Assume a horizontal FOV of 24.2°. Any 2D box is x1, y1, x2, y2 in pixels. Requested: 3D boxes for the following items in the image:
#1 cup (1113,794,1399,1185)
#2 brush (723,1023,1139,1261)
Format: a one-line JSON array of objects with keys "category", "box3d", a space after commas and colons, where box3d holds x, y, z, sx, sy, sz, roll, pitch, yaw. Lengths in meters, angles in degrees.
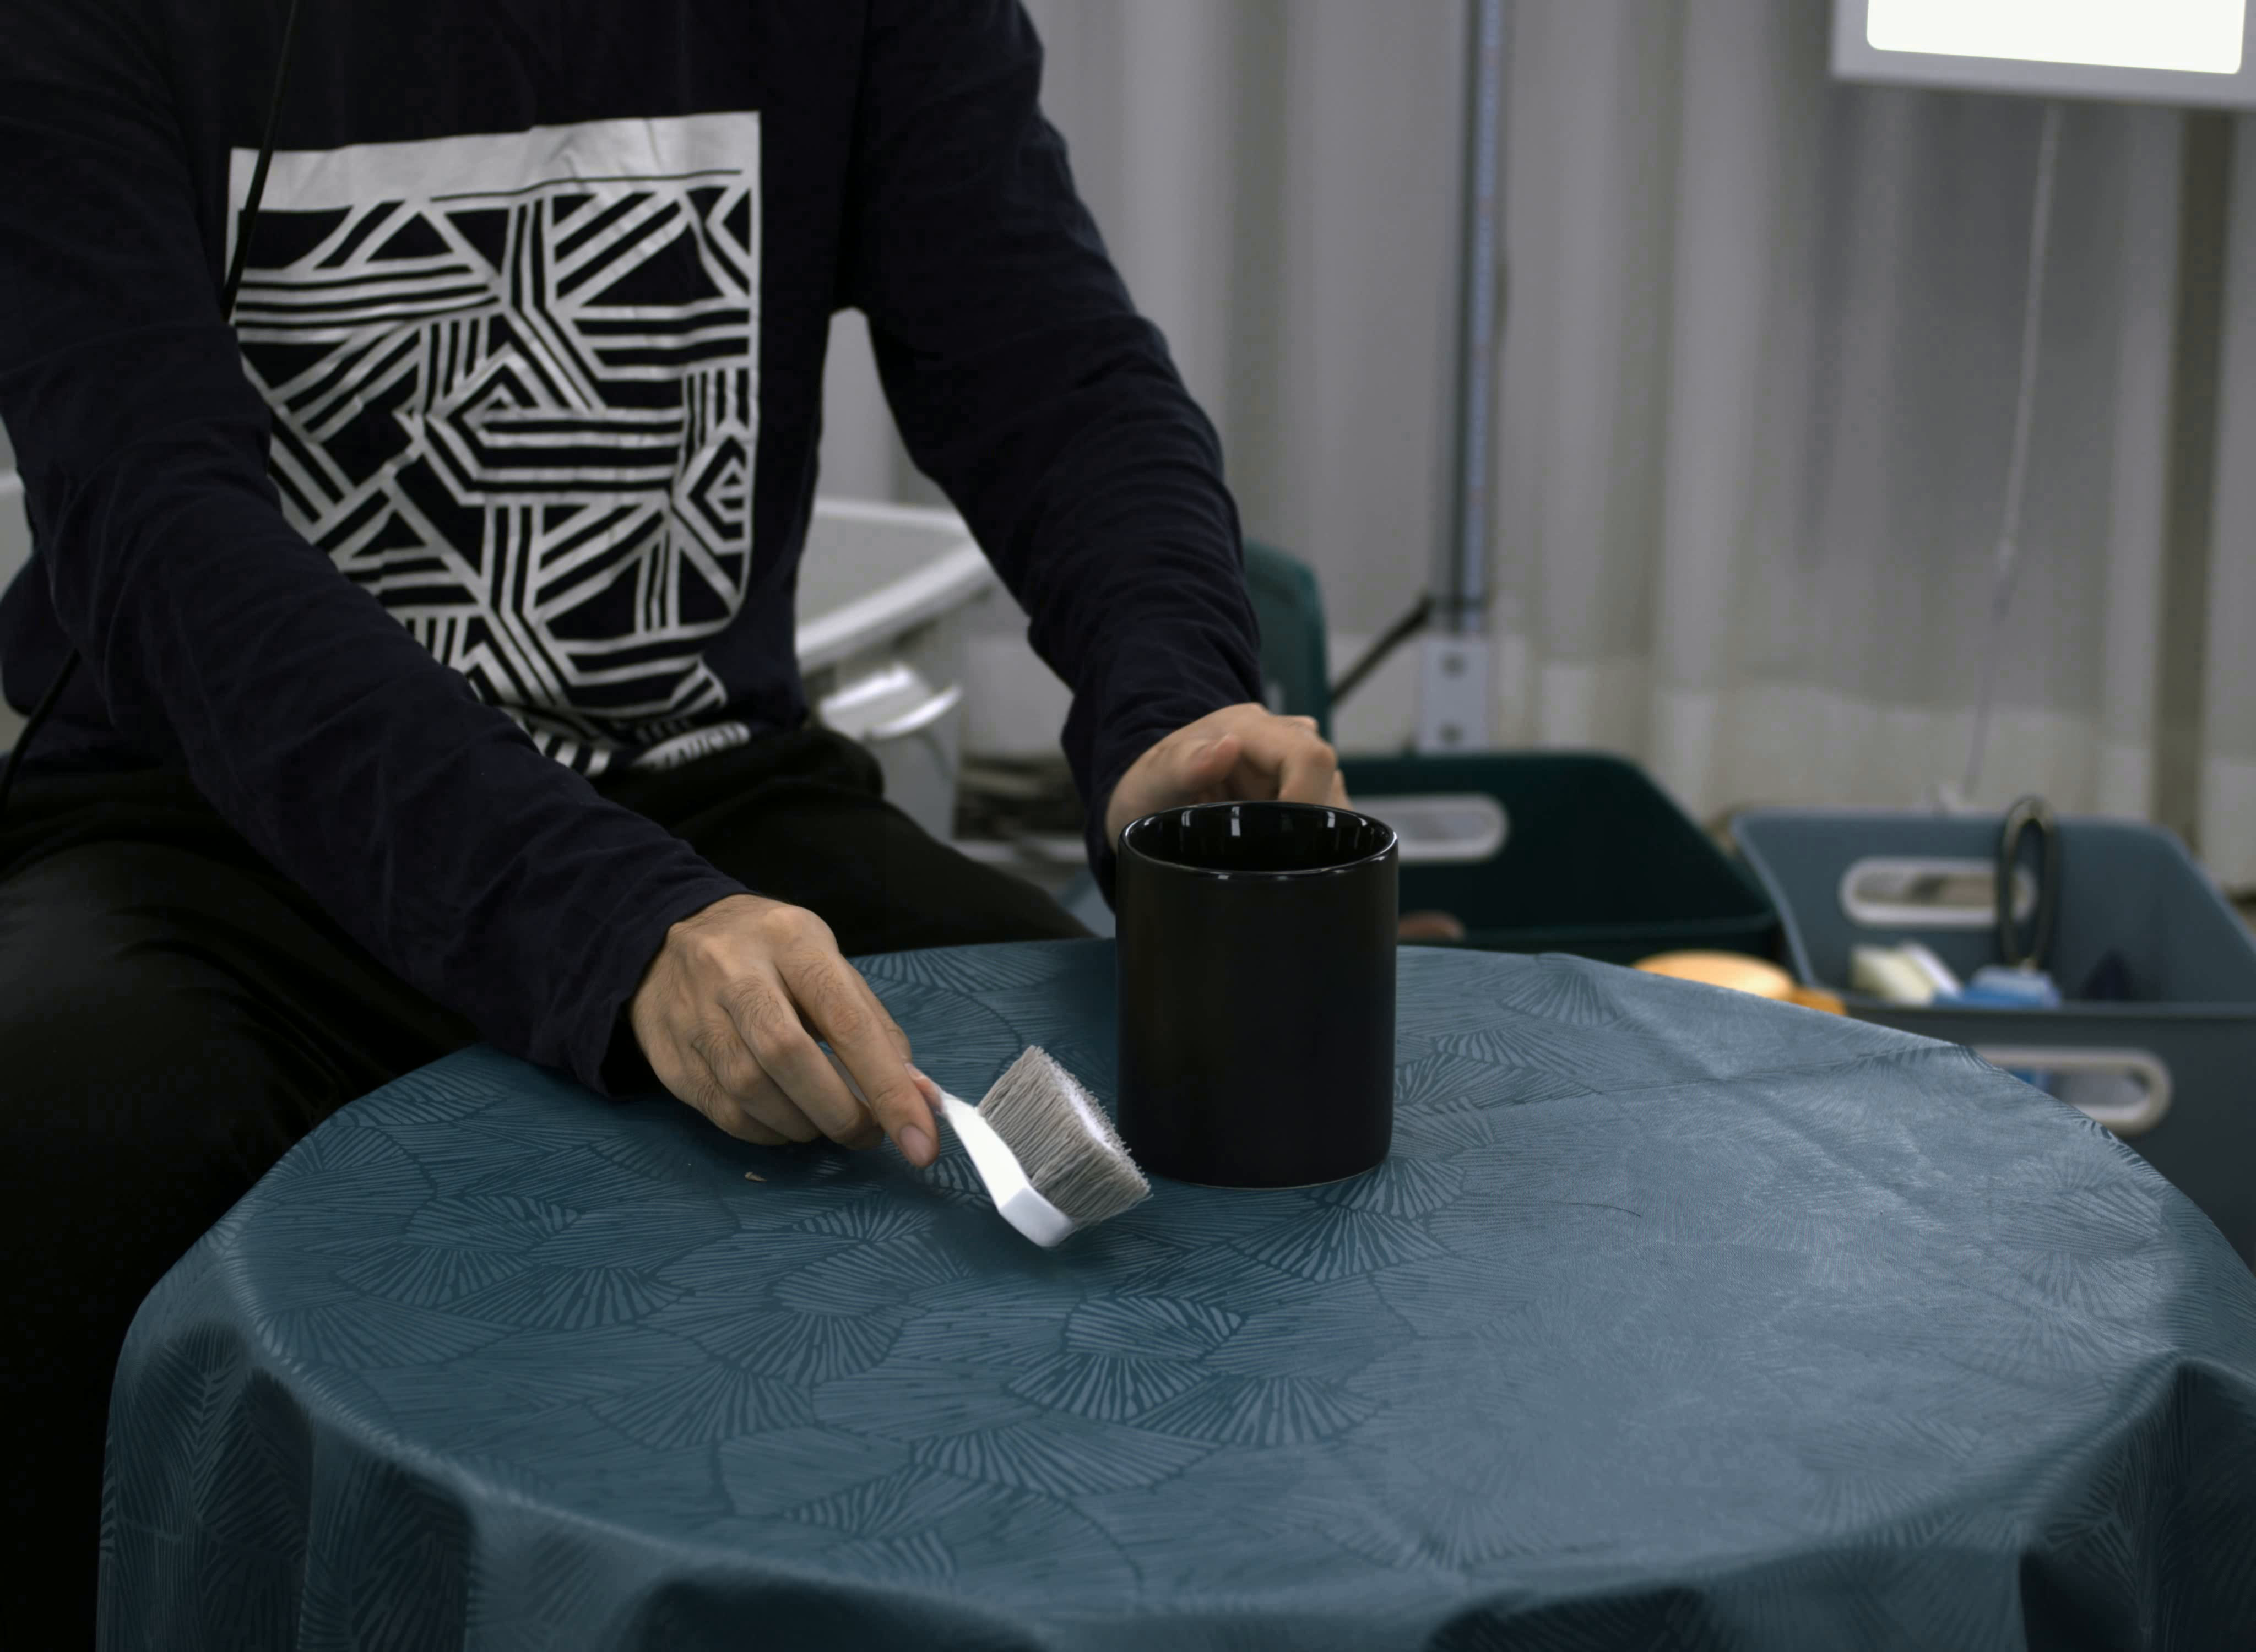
[{"category": "cup", "box3d": [0.035, 0.047, 1.669, 0.089, 0.106, 0.122, -7, 15, -17]}, {"category": "brush", "box3d": [-0.064, 0.080, 1.647, 0.035, 0.050, 0.241, 33, -4, -29]}]
